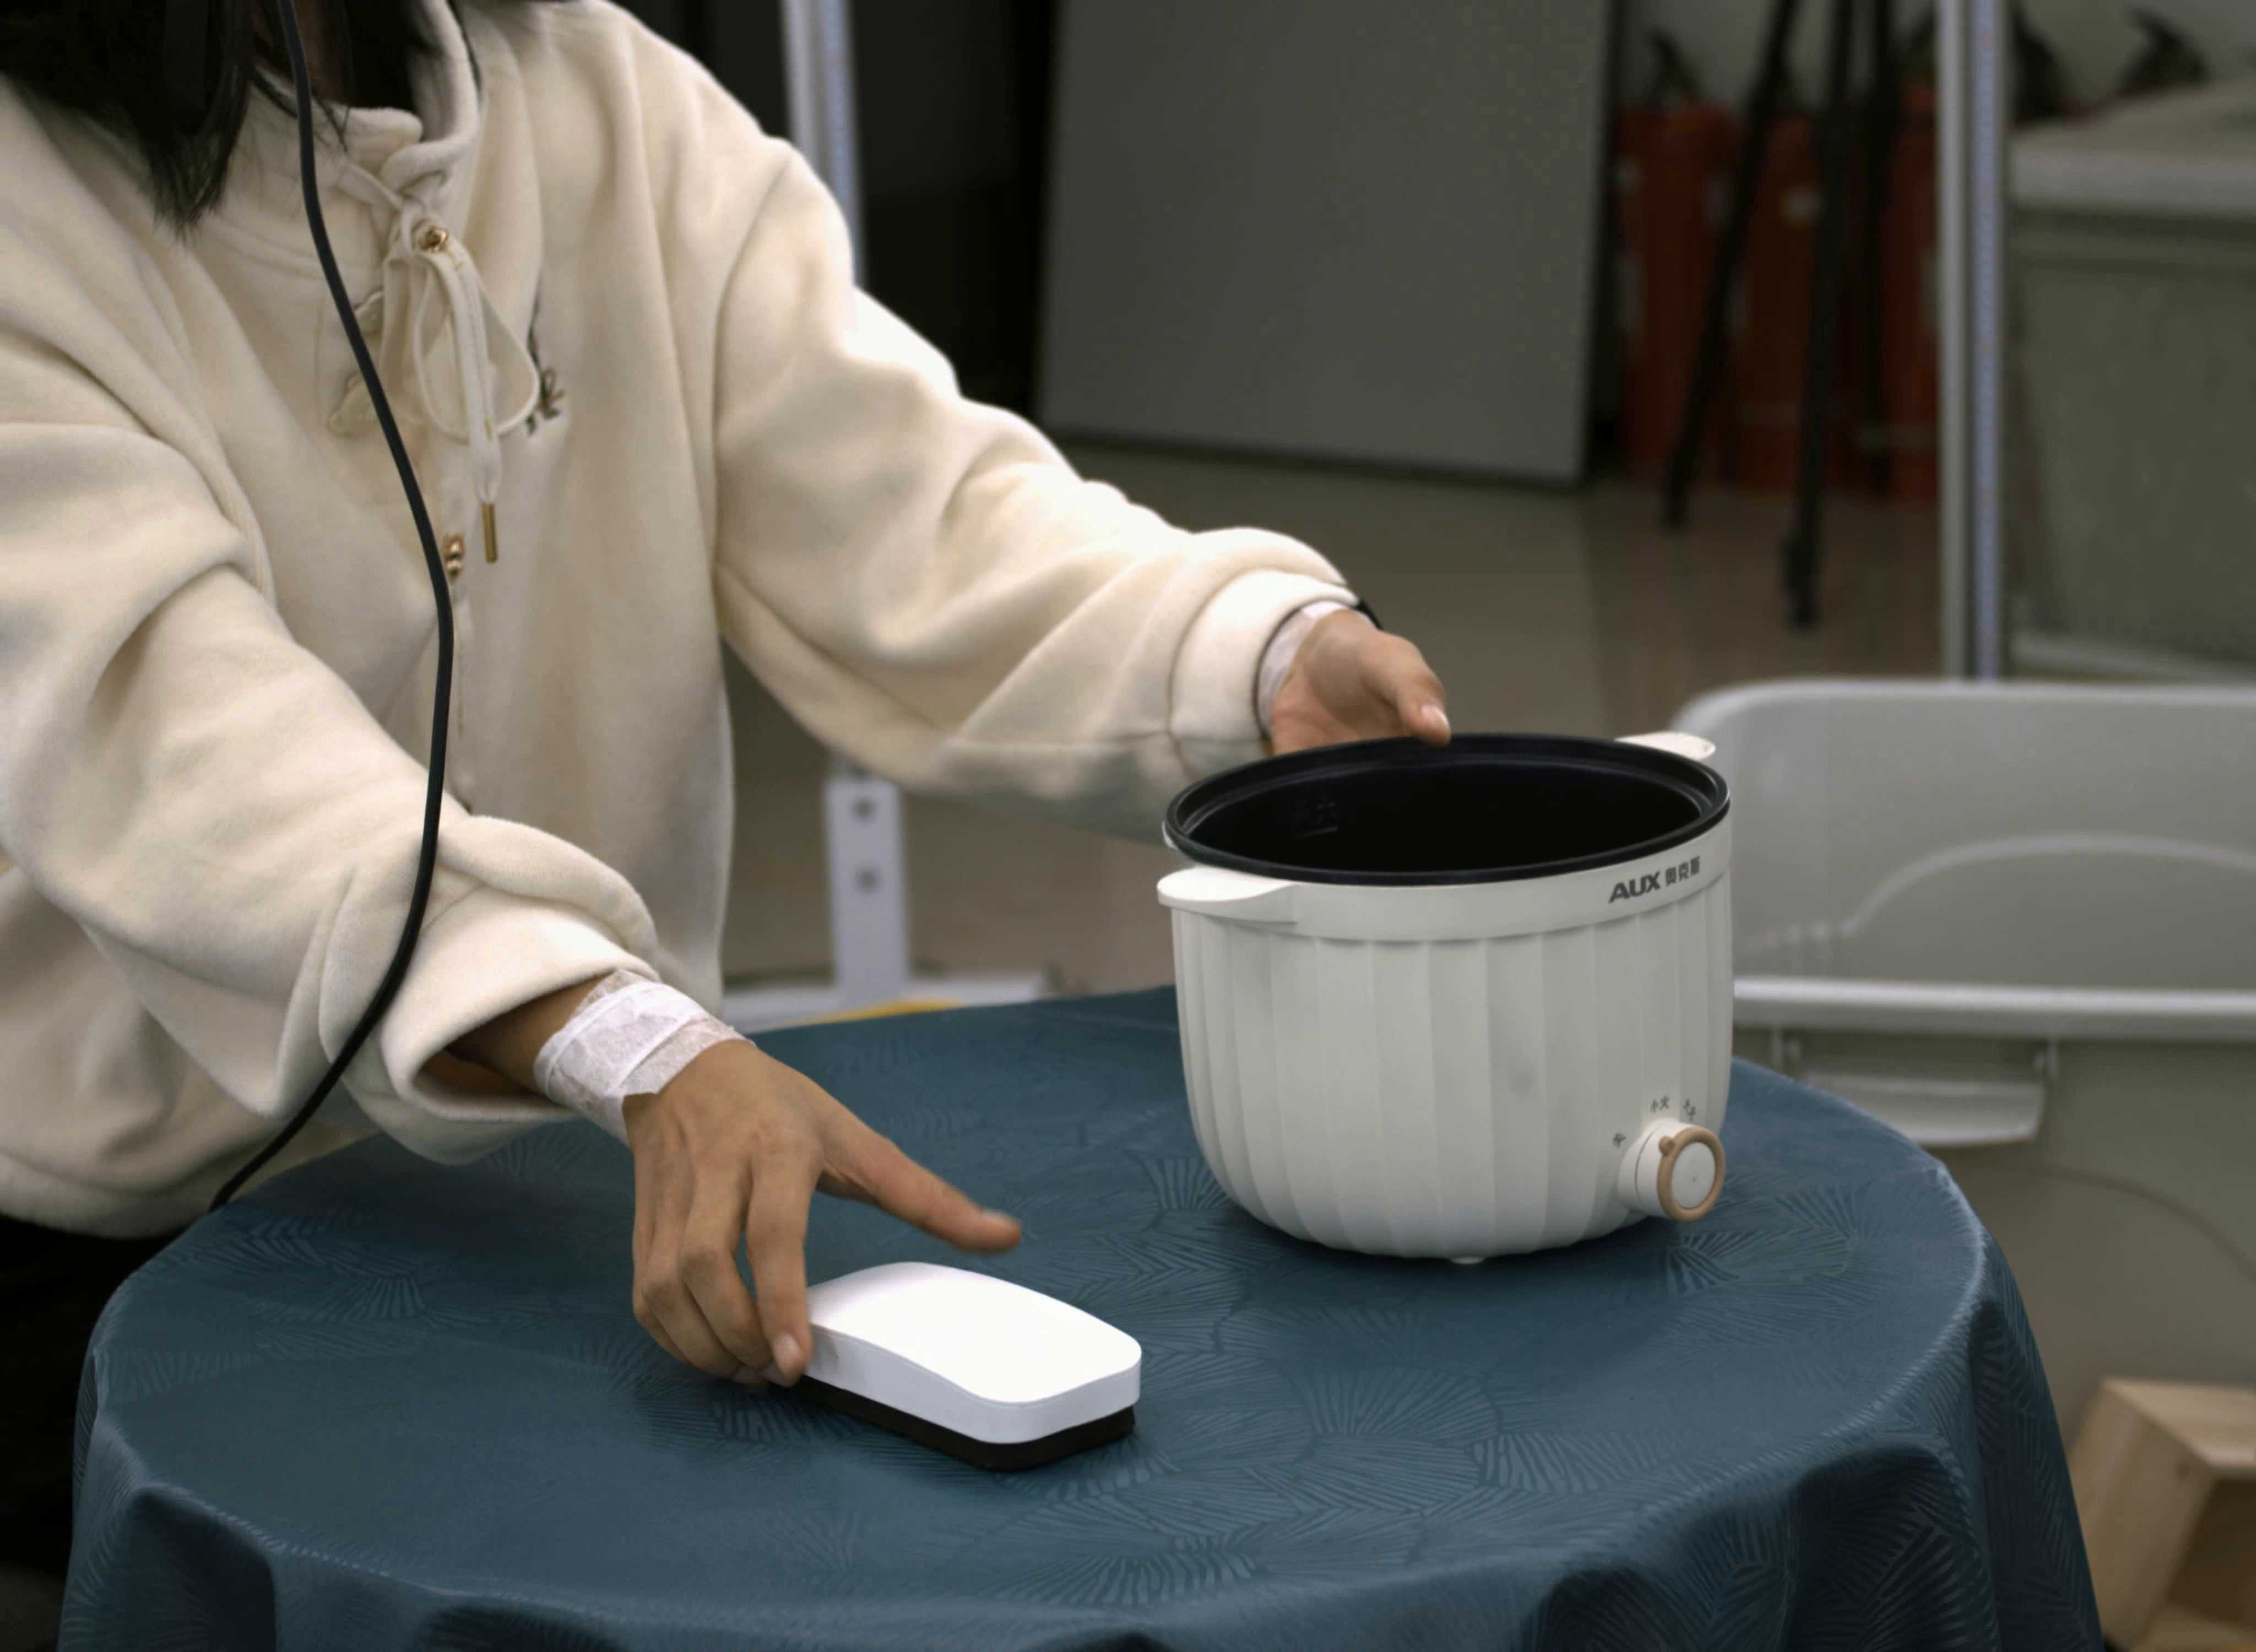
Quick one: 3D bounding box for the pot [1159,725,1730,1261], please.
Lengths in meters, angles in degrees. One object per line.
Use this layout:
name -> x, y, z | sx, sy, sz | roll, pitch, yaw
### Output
pot -> 0.108, 0.054, 1.714 | 0.235, 0.144, 0.192 | -17, 16, -41

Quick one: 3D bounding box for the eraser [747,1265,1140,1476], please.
eraser -> -0.054, 0.156, 1.581 | 0.062, 0.035, 0.132 | -12, 16, -37
